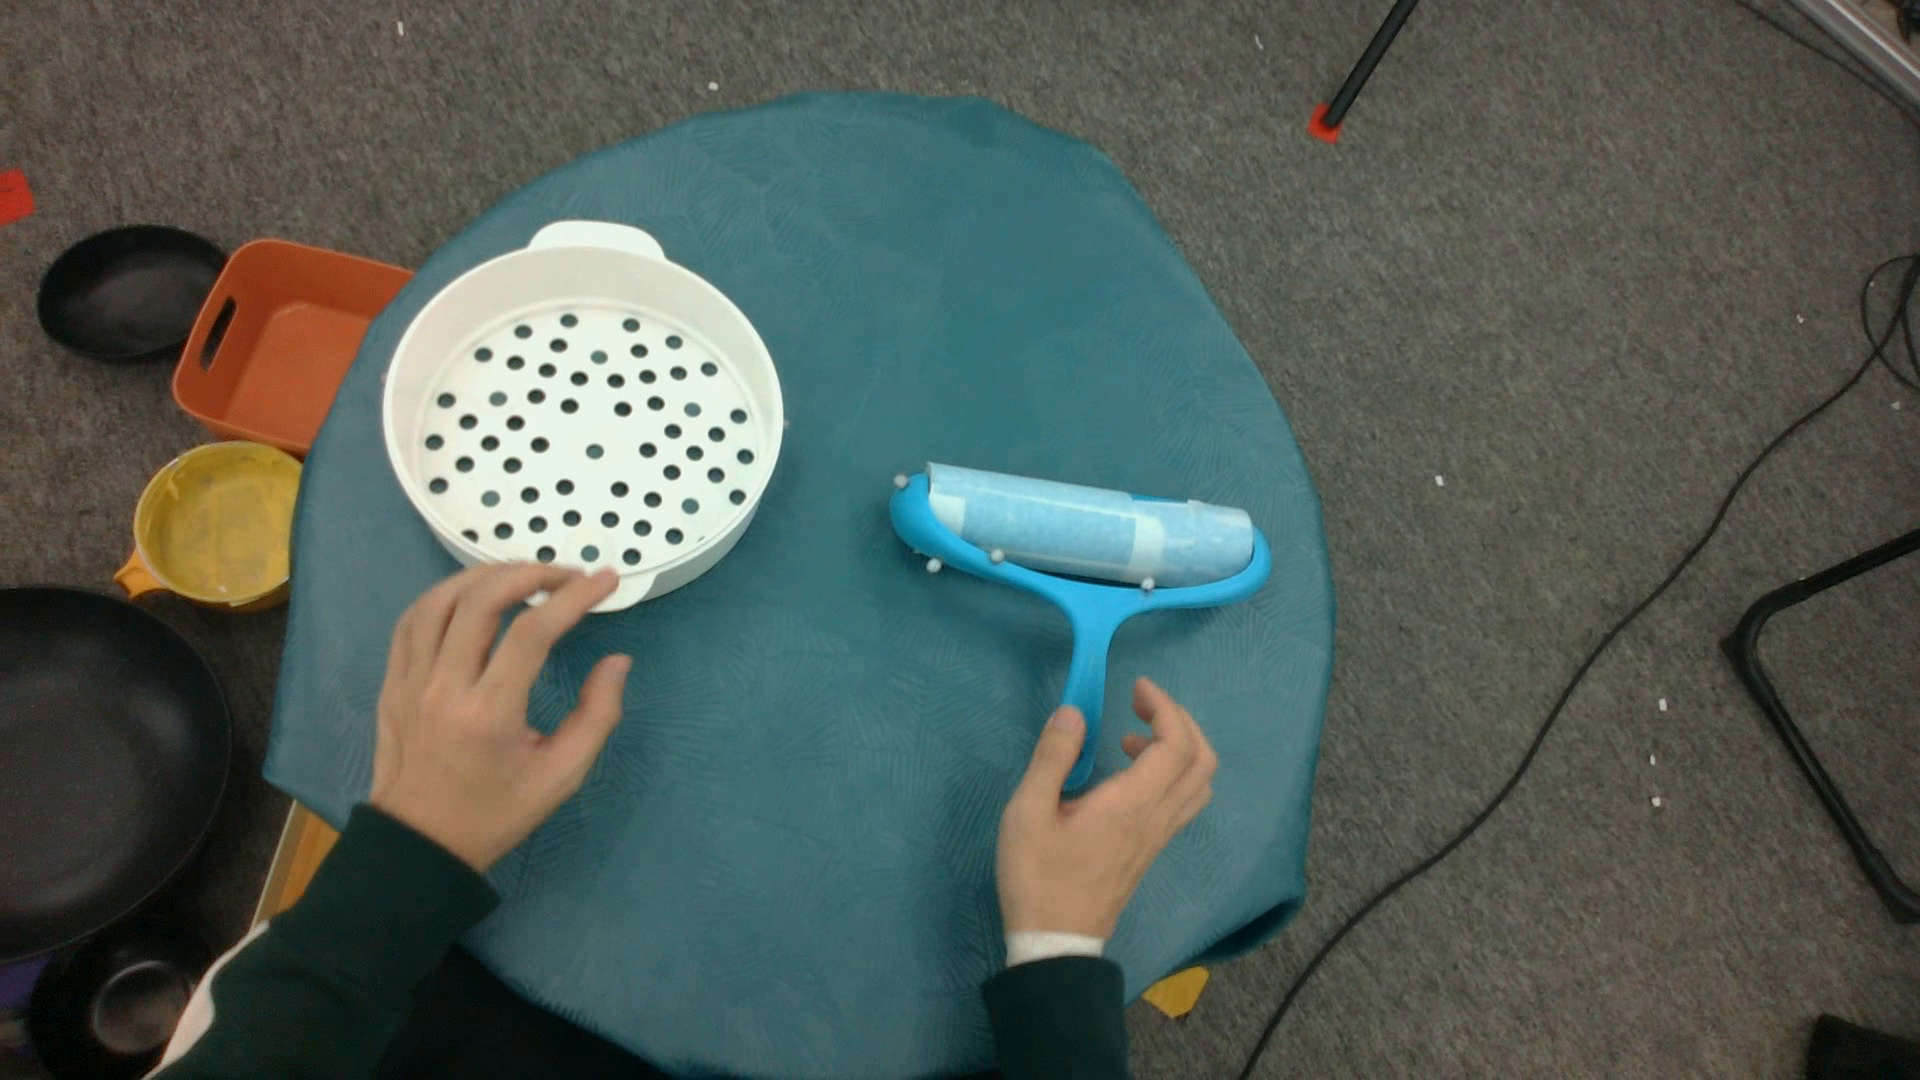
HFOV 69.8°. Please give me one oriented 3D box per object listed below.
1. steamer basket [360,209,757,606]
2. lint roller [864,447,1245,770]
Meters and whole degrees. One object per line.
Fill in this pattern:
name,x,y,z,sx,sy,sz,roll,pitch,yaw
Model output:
steamer basket,-0.214,-0.066,0.751,0.202,0.069,0.231,0,70,-13
lint roller,0.060,0.035,0.785,0.229,0.067,0.181,3,67,-15
